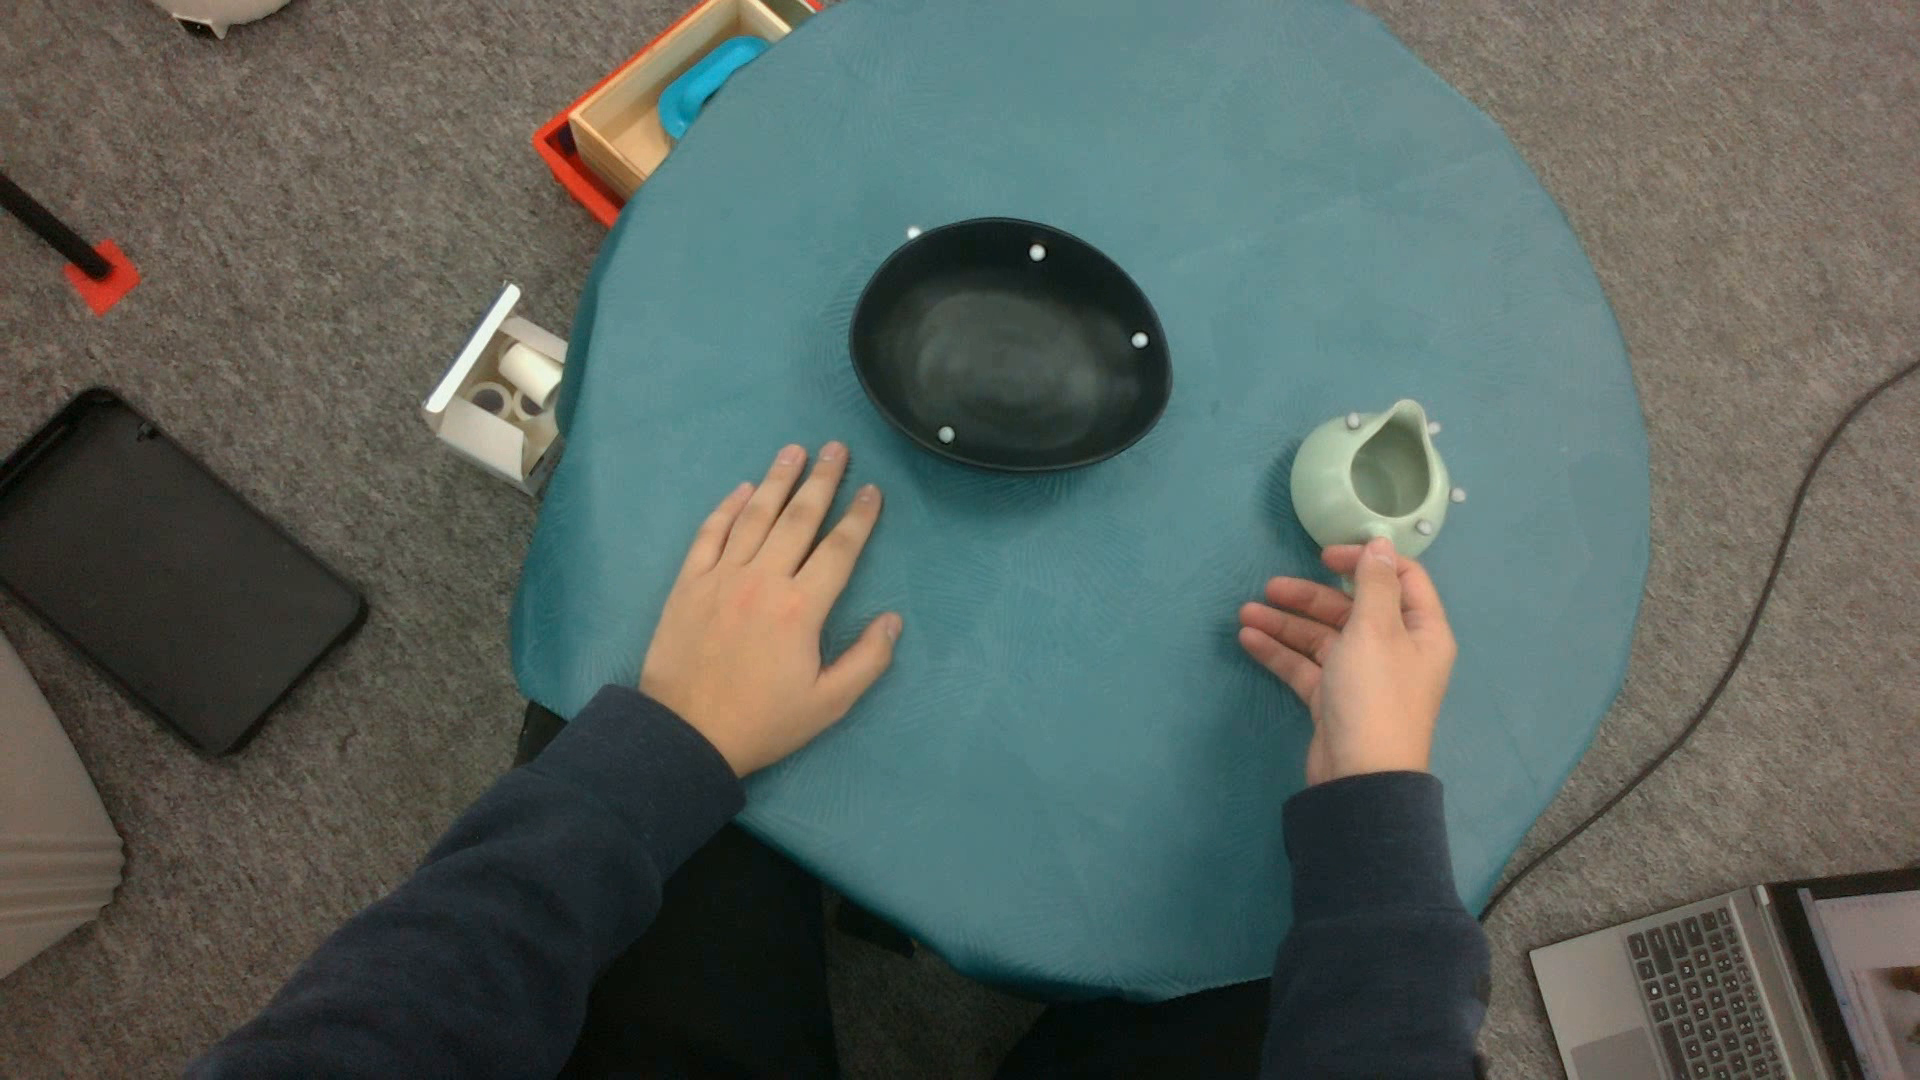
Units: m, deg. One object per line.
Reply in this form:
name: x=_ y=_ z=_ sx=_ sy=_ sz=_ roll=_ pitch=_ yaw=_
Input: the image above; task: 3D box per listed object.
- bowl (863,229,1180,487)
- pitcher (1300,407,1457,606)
bowl: x=0.032 y=-0.090 z=0.737 sx=0.170 sy=0.066 sz=0.137 roll=8 pitch=76 yaw=-6
pitcher: x=0.227 y=-0.015 z=0.746 sx=0.086 sy=0.060 sz=0.108 roll=15 pitch=77 yaw=-2
